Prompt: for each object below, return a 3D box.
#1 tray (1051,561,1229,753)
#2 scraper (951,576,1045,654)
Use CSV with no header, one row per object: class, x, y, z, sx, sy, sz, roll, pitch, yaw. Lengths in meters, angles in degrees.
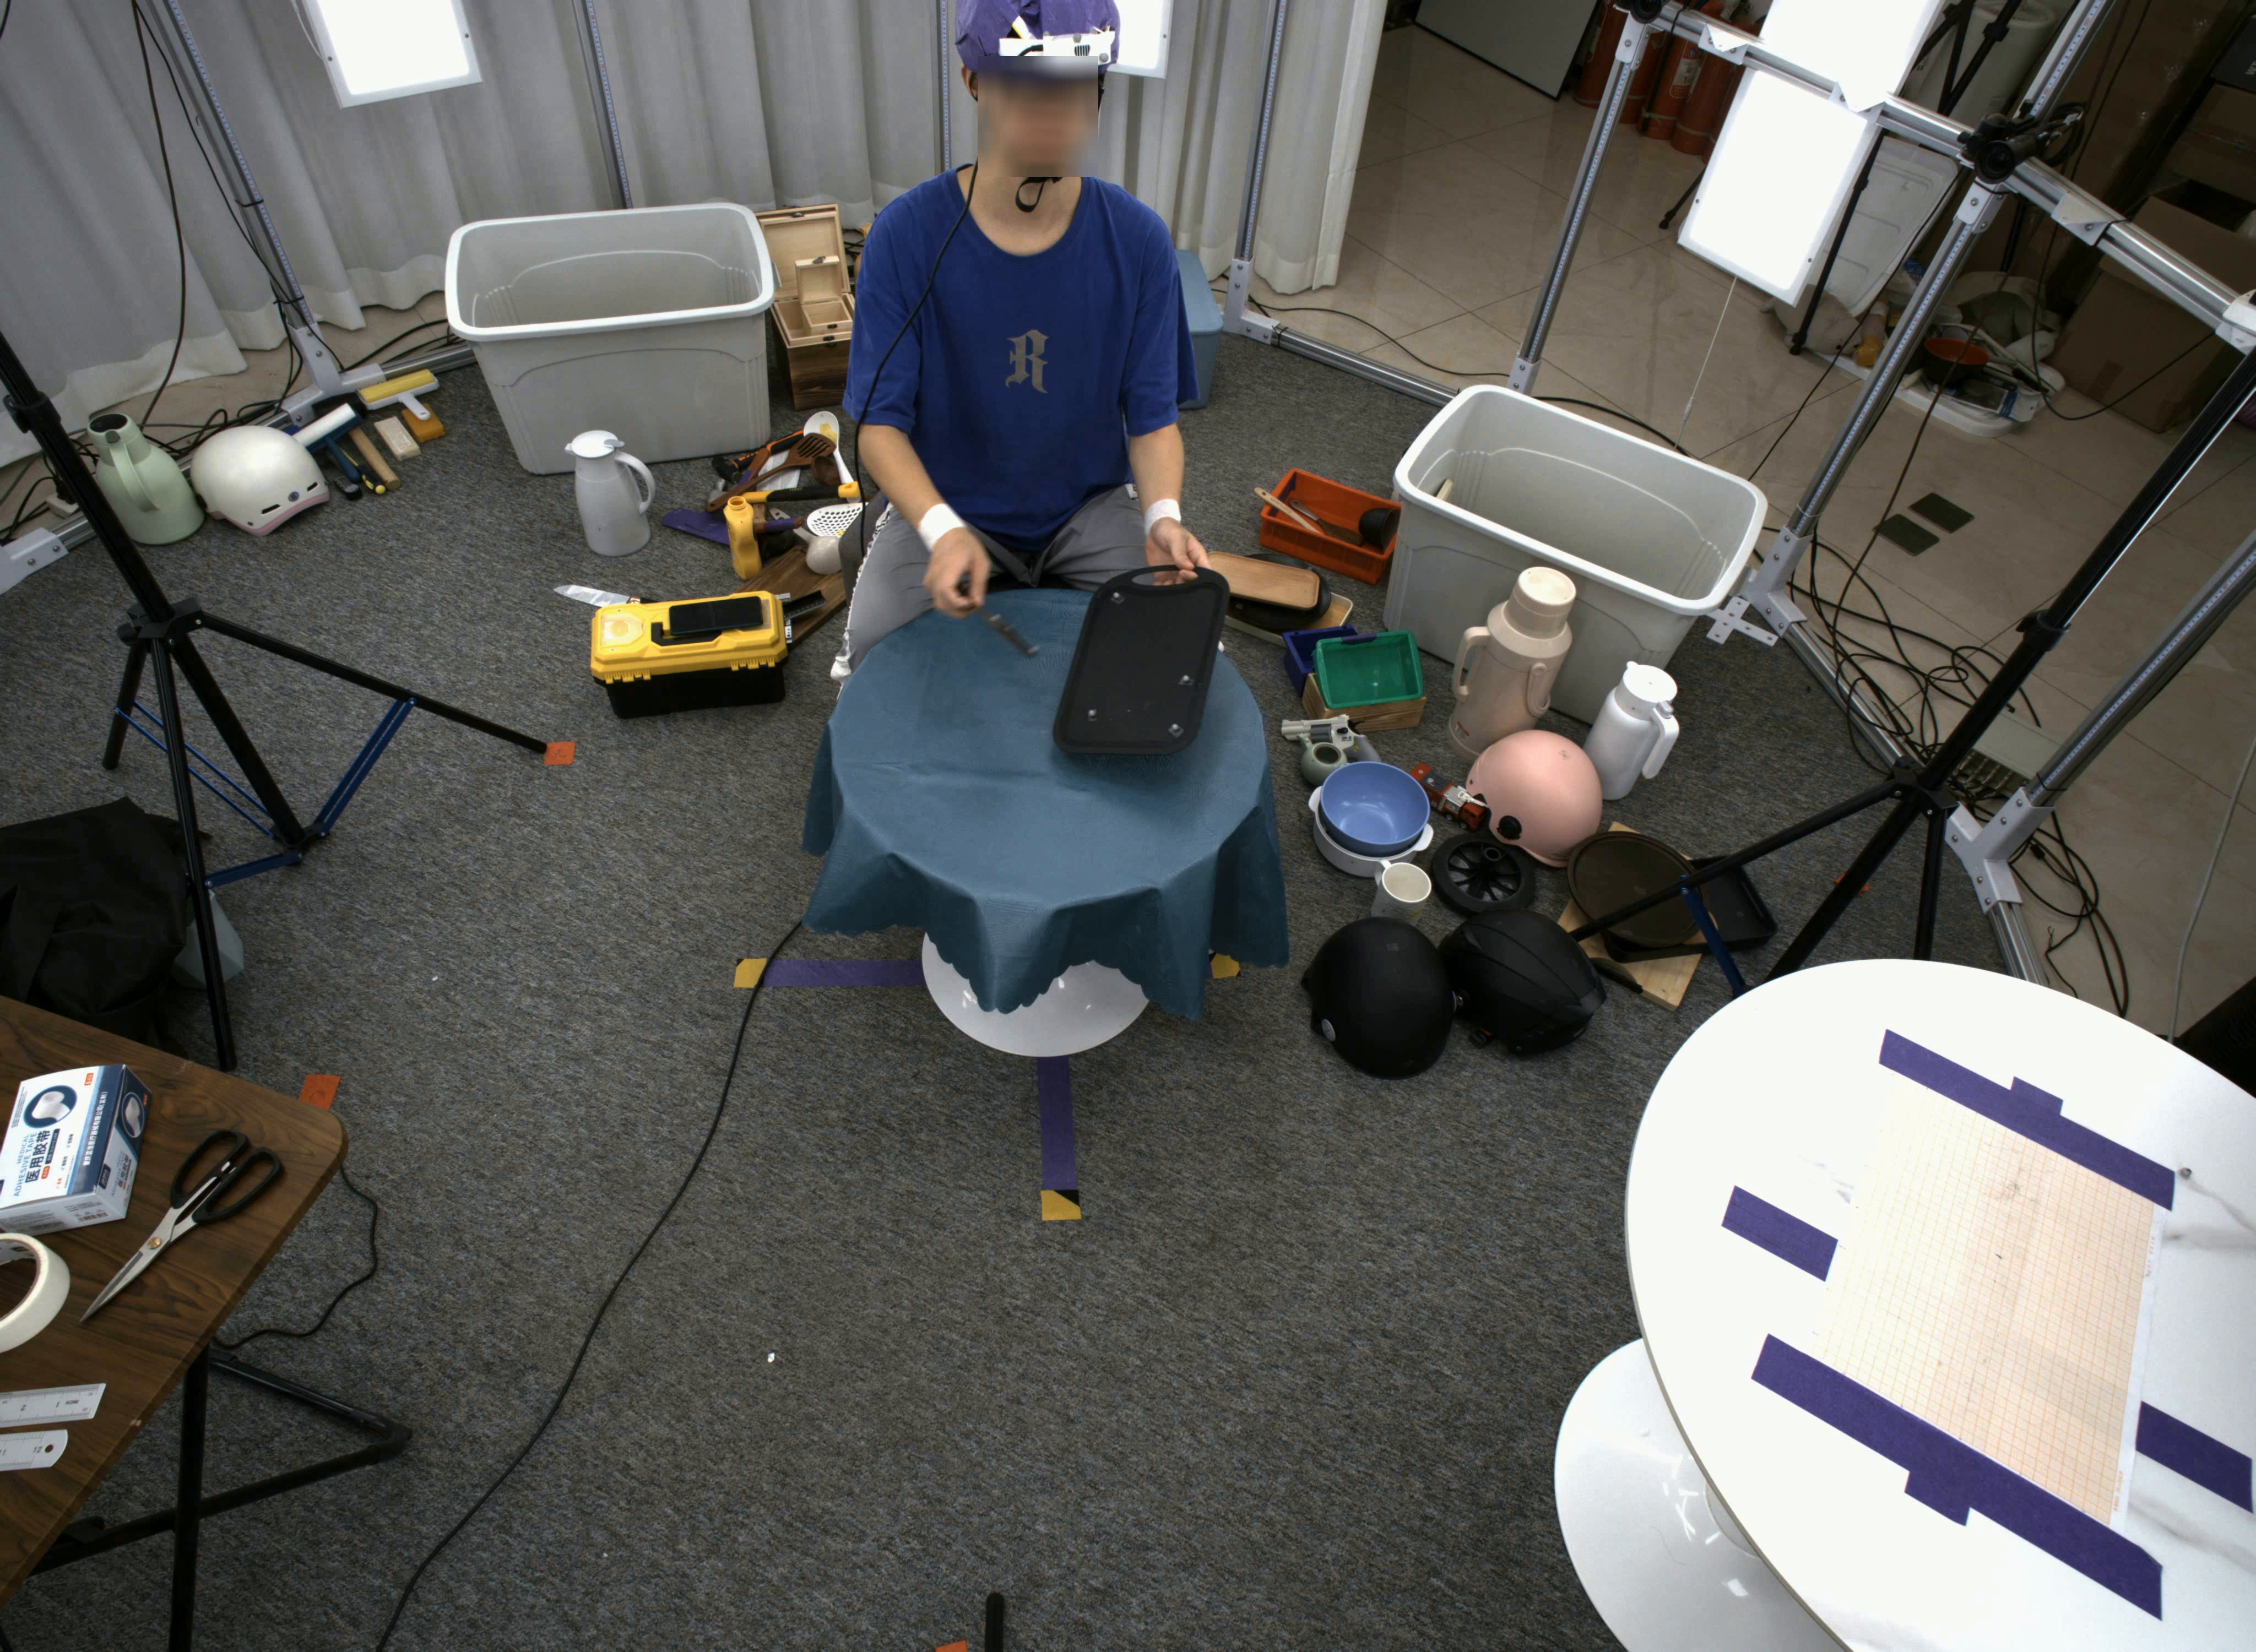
tray,0.019,-0.238,1.761,0.212,0.009,0.332,2,59,23
scraper,-0.181,-0.287,1.713,0.011,0.074,0.215,-48,46,0
